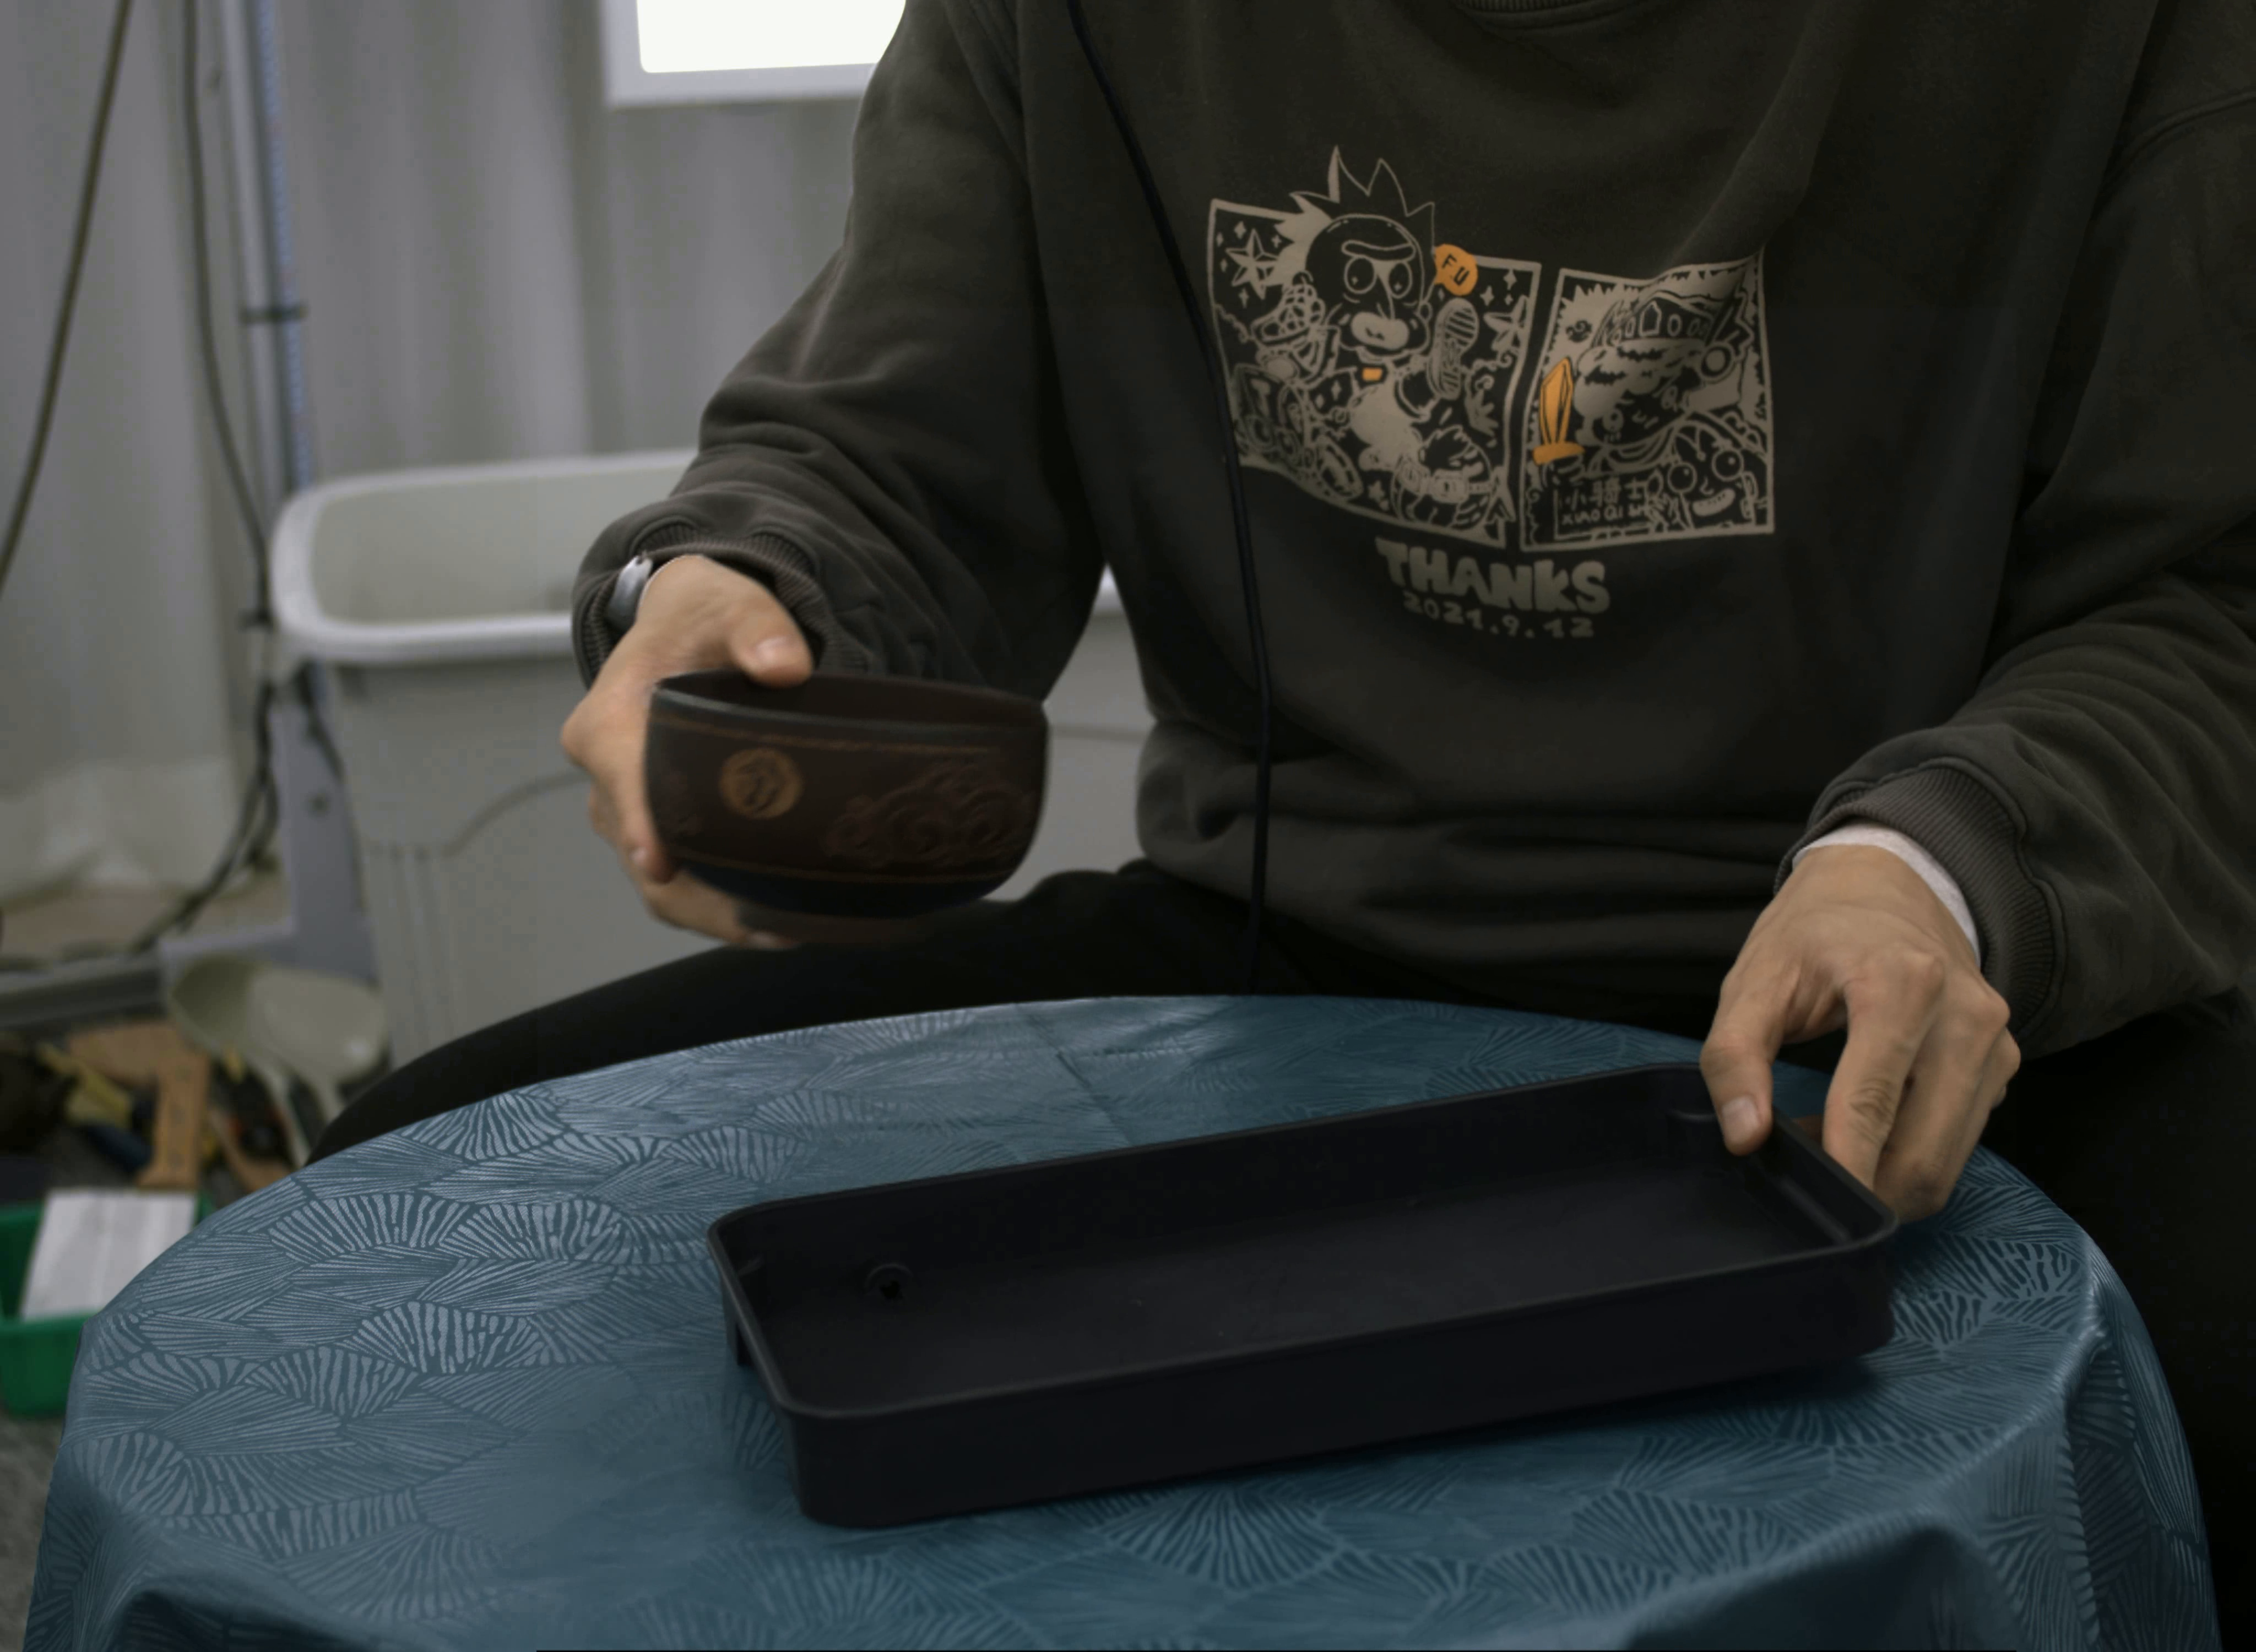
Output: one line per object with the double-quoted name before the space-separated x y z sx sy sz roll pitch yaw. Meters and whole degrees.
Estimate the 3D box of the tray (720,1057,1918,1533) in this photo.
"tray" 0.052 0.130 1.565 0.317 0.037 0.185 -9 15 -12

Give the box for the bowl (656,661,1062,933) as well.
"bowl" -0.079 -0.007 1.594 0.117 0.070 0.118 4 6 -1
